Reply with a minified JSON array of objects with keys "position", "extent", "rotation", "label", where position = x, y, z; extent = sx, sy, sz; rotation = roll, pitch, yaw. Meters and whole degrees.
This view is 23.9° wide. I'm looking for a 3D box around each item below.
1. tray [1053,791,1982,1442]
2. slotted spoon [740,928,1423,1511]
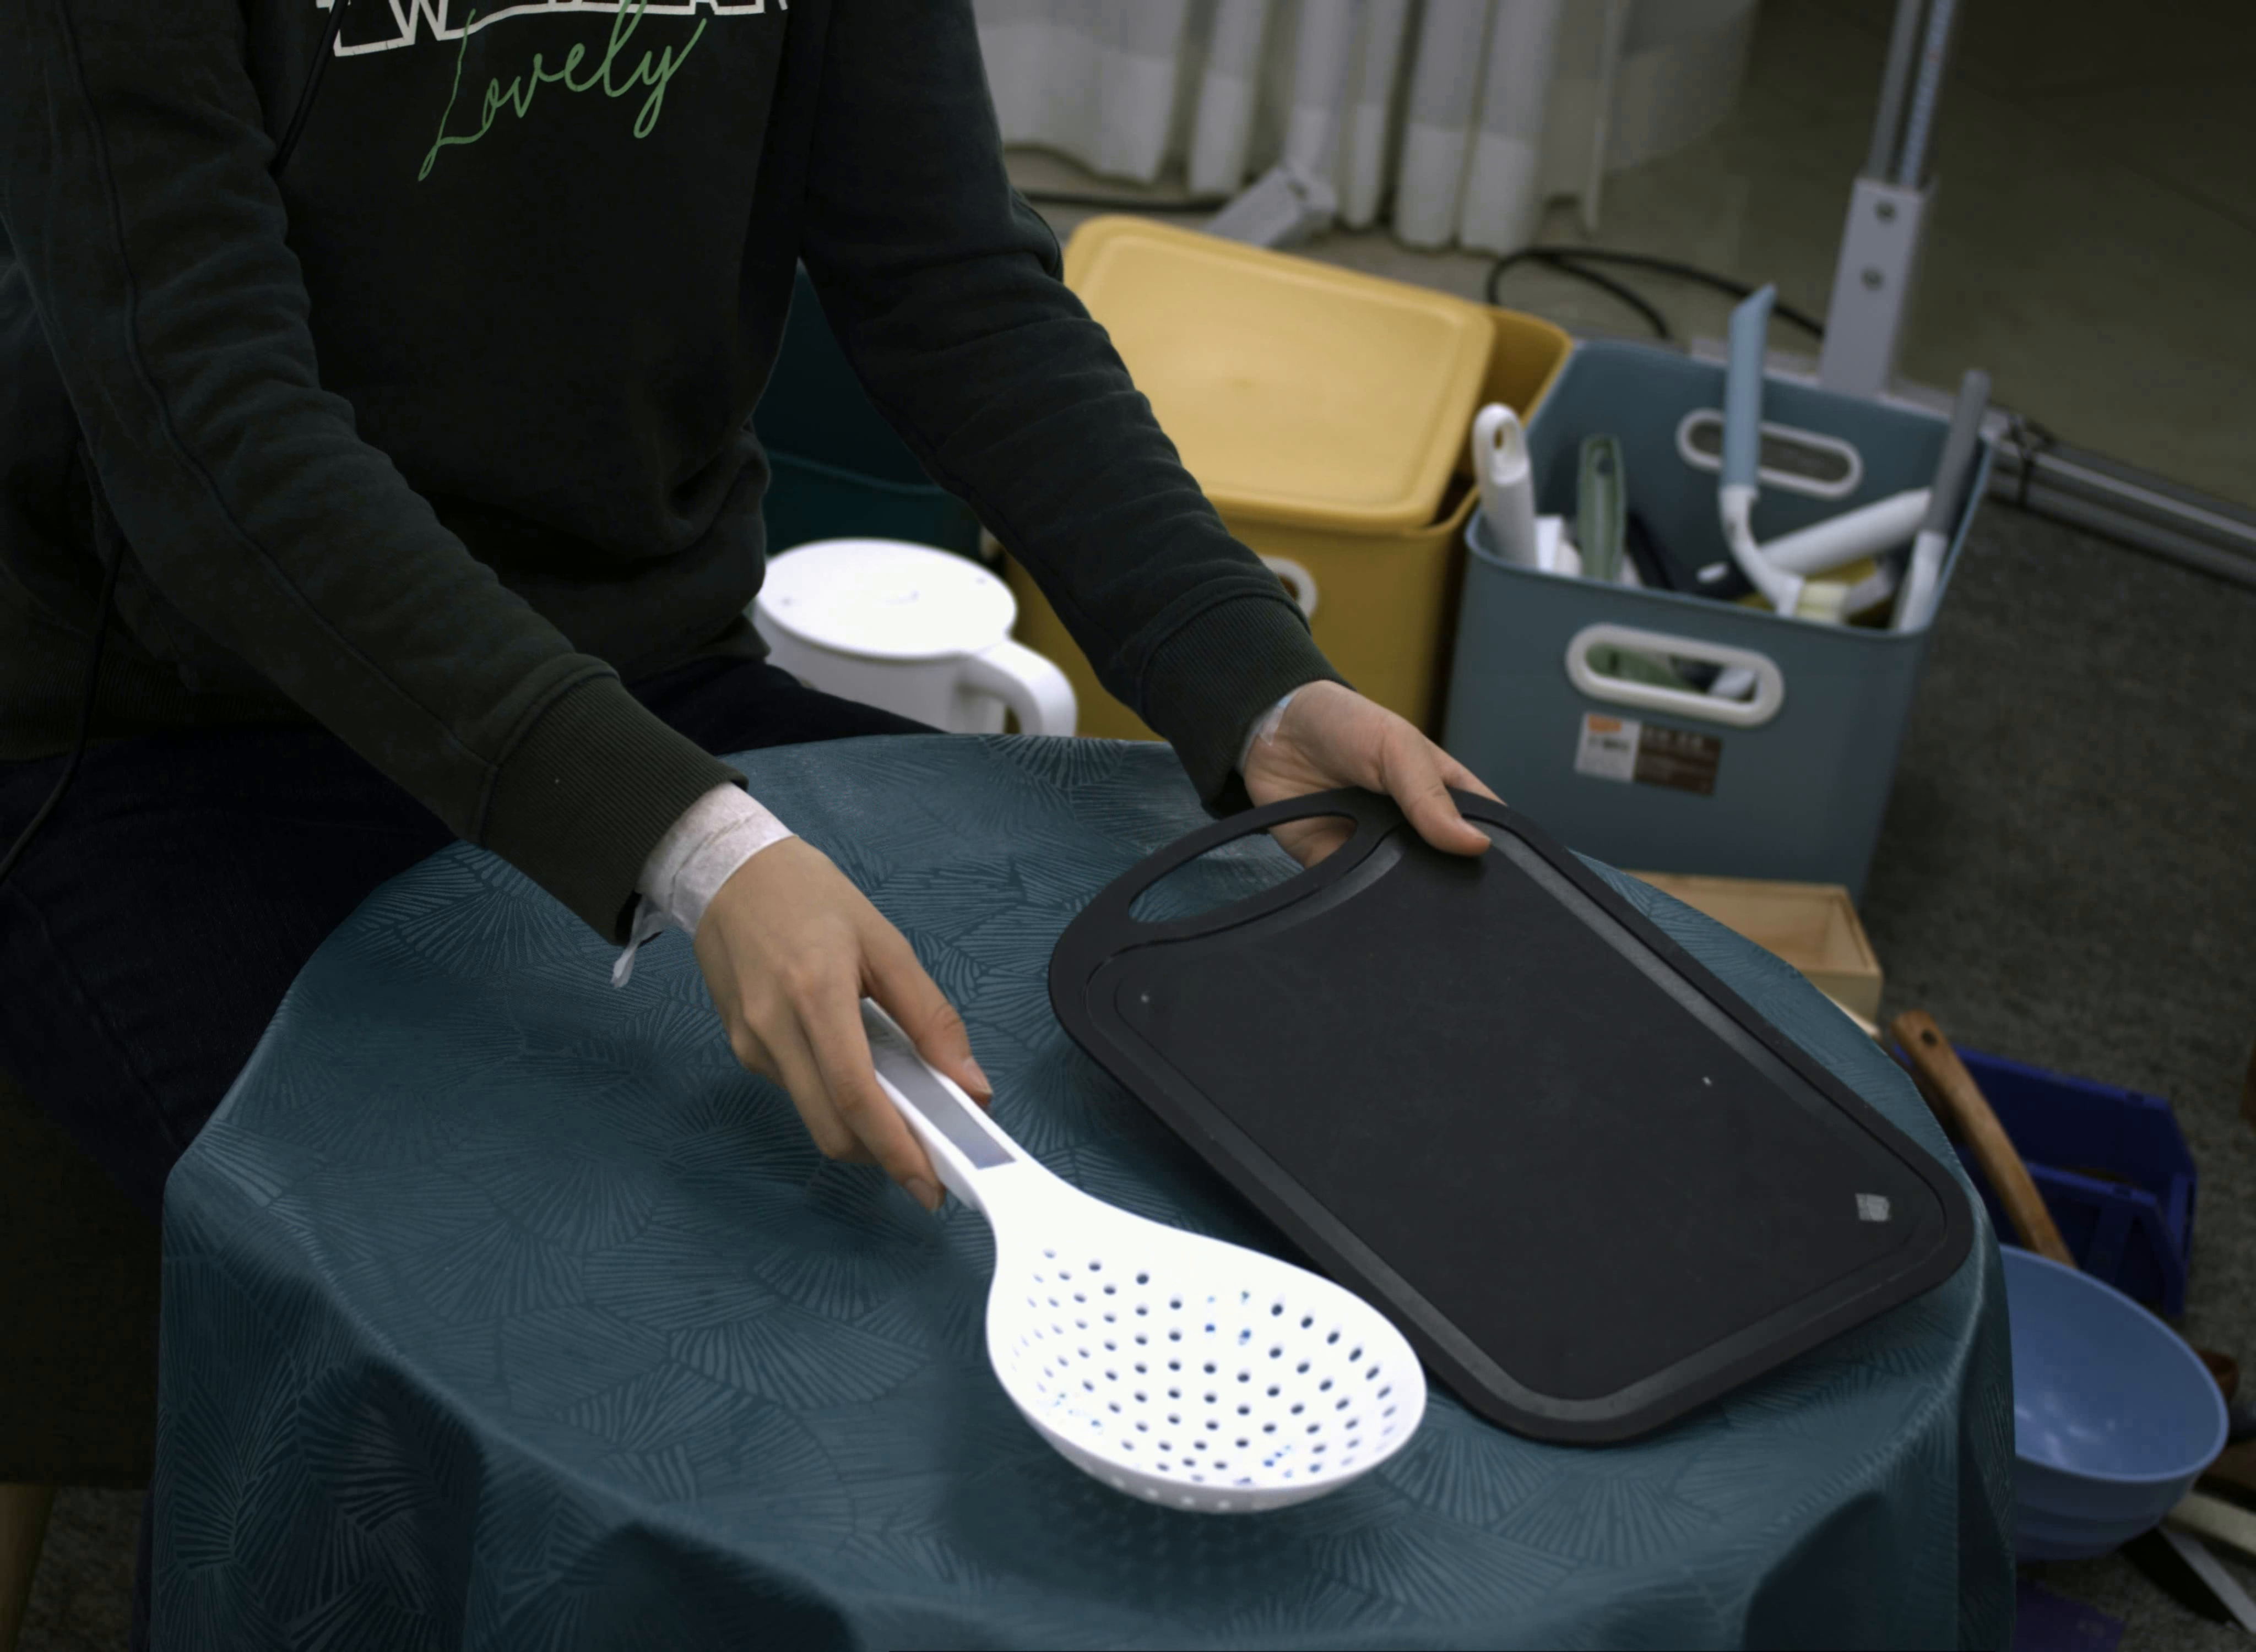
[{"position":[0.124,0.087,1.822],"extent":[0.210,0.010,0.328],"rotation":[-21,44,-29],"label":"tray"},{"position":[-0.034,0.121,1.710],"extent":[0.135,0.045,0.353],"rotation":[-8,36,-32],"label":"slotted spoon"}]
